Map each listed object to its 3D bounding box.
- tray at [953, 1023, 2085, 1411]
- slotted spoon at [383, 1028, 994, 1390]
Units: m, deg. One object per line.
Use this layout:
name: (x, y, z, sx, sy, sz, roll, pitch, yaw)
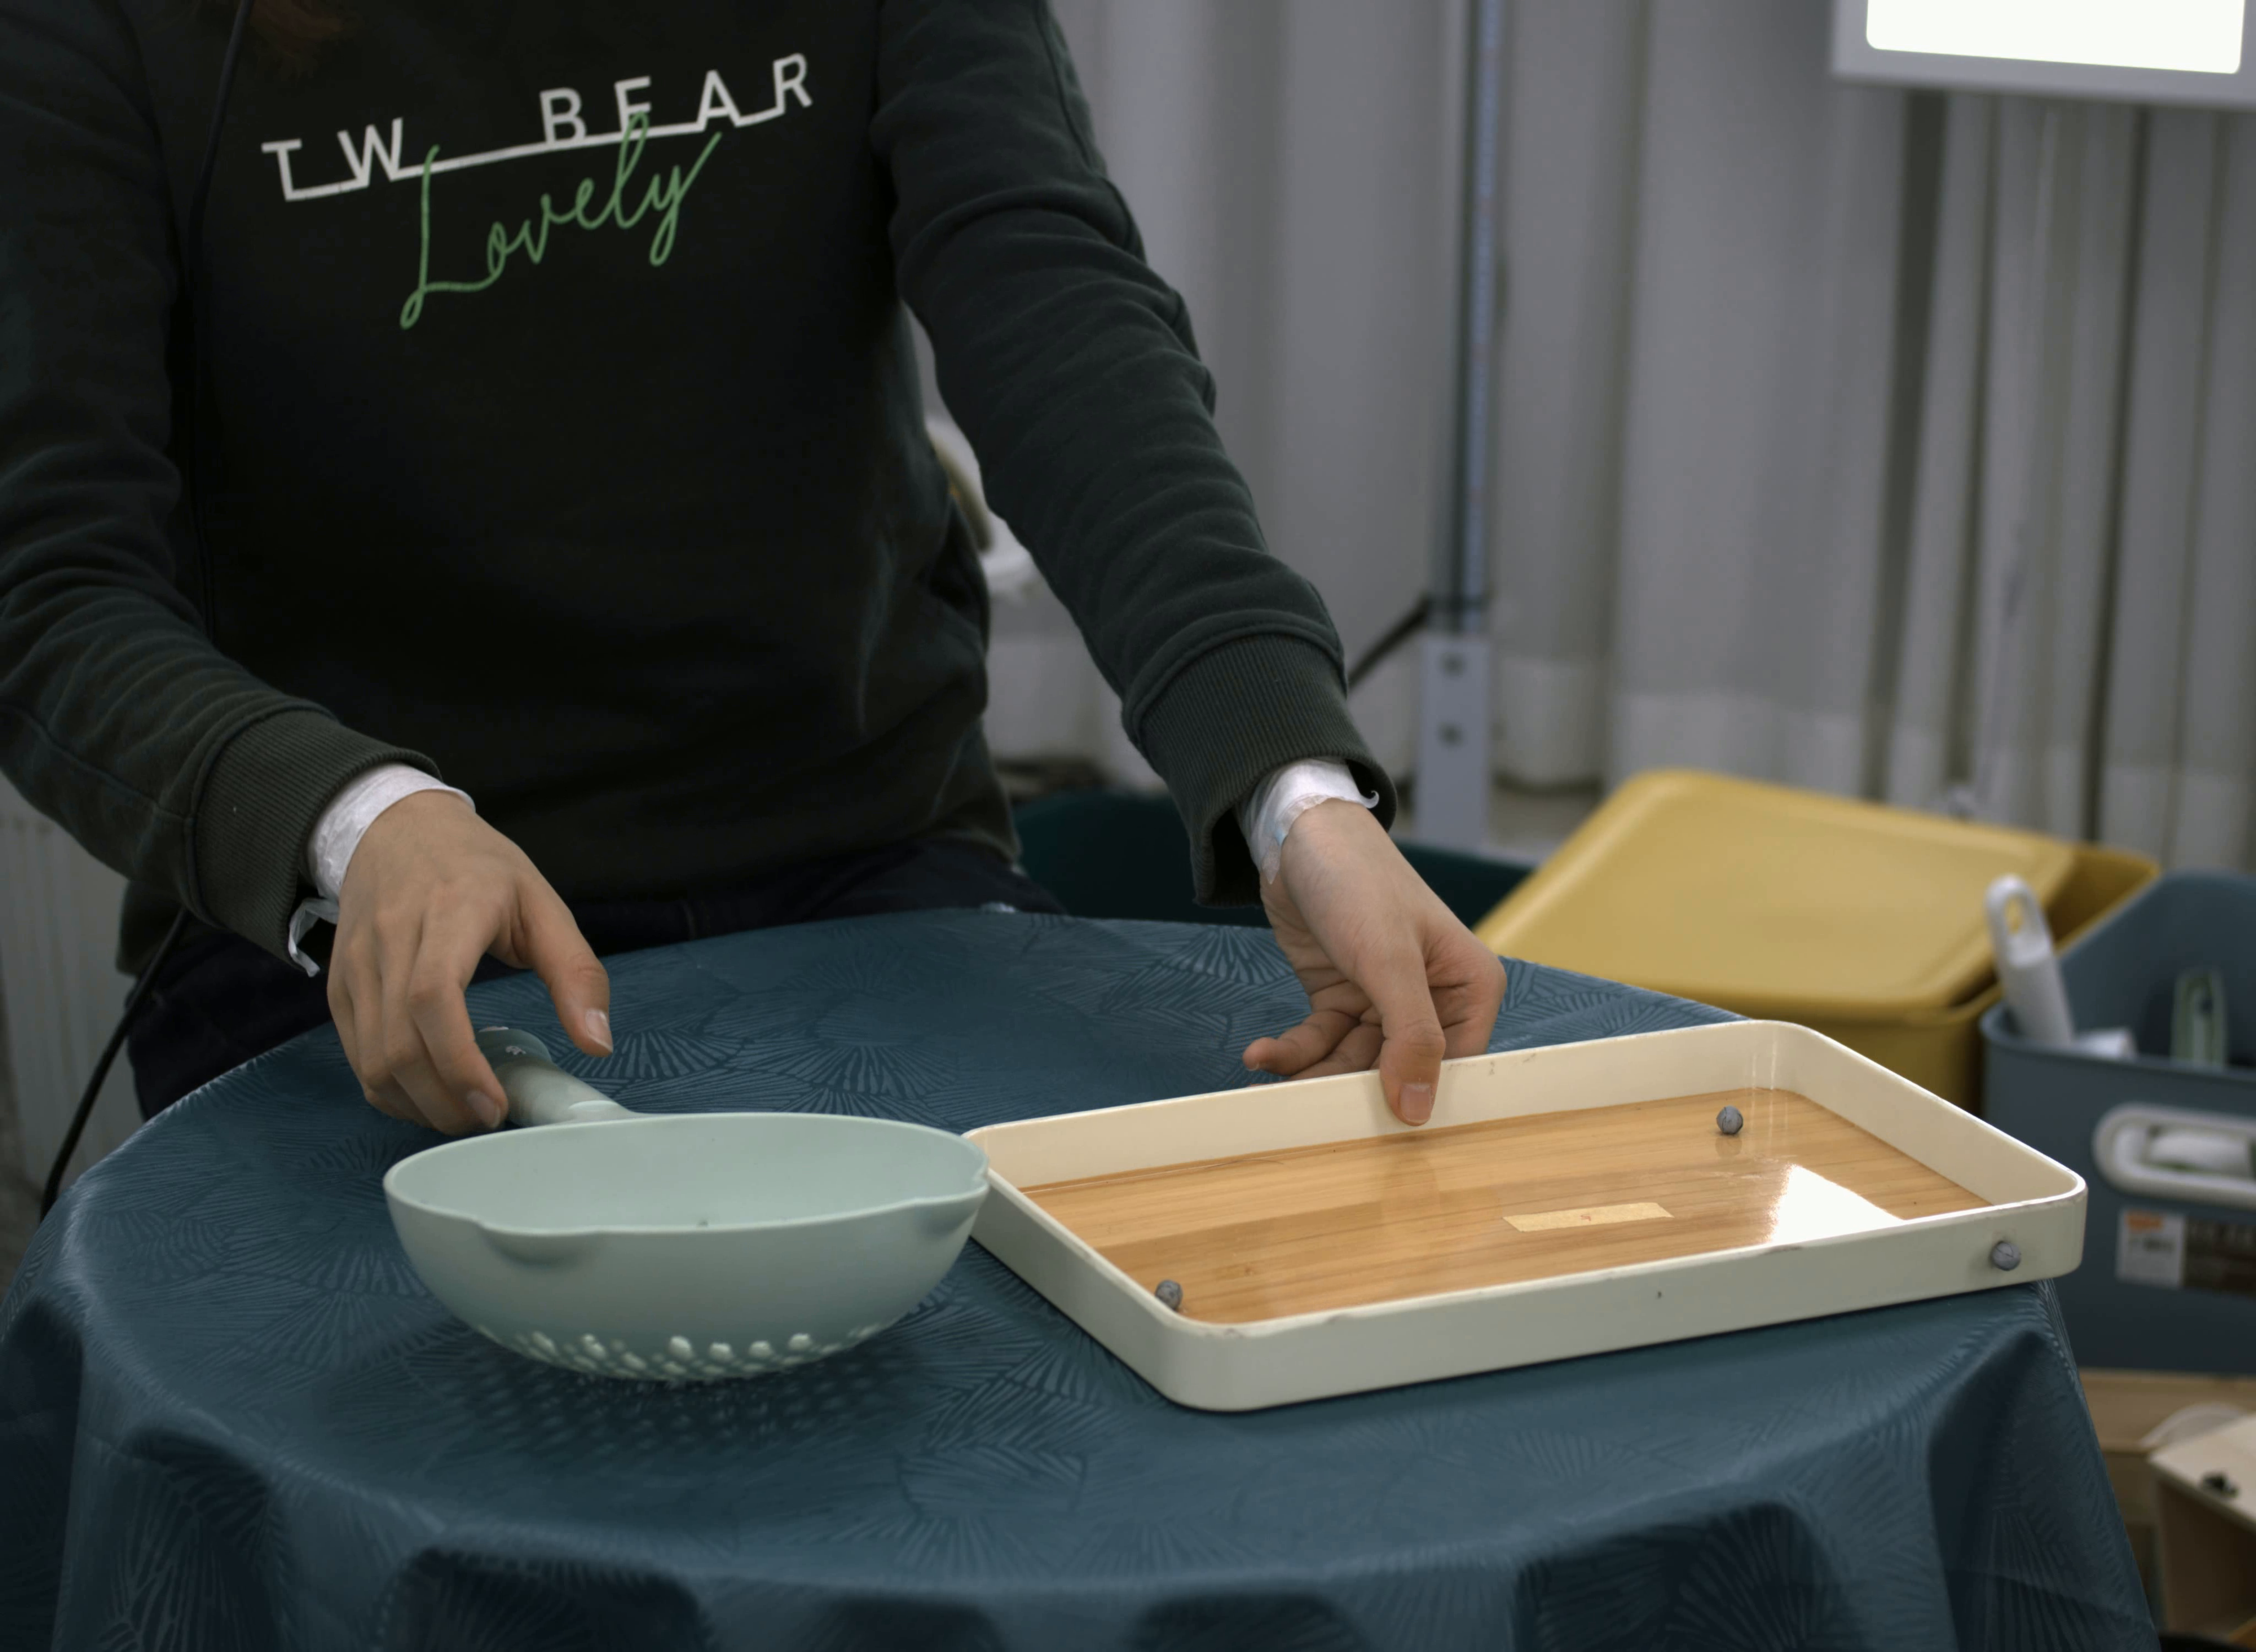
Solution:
tray: (0.115, 0.113, 1.581, 0.301, 0.027, 0.189, -6, 17, -24)
slotted spoon: (-0.154, 0.097, 1.558, 0.170, 0.076, 0.355, -3, 16, -19)
